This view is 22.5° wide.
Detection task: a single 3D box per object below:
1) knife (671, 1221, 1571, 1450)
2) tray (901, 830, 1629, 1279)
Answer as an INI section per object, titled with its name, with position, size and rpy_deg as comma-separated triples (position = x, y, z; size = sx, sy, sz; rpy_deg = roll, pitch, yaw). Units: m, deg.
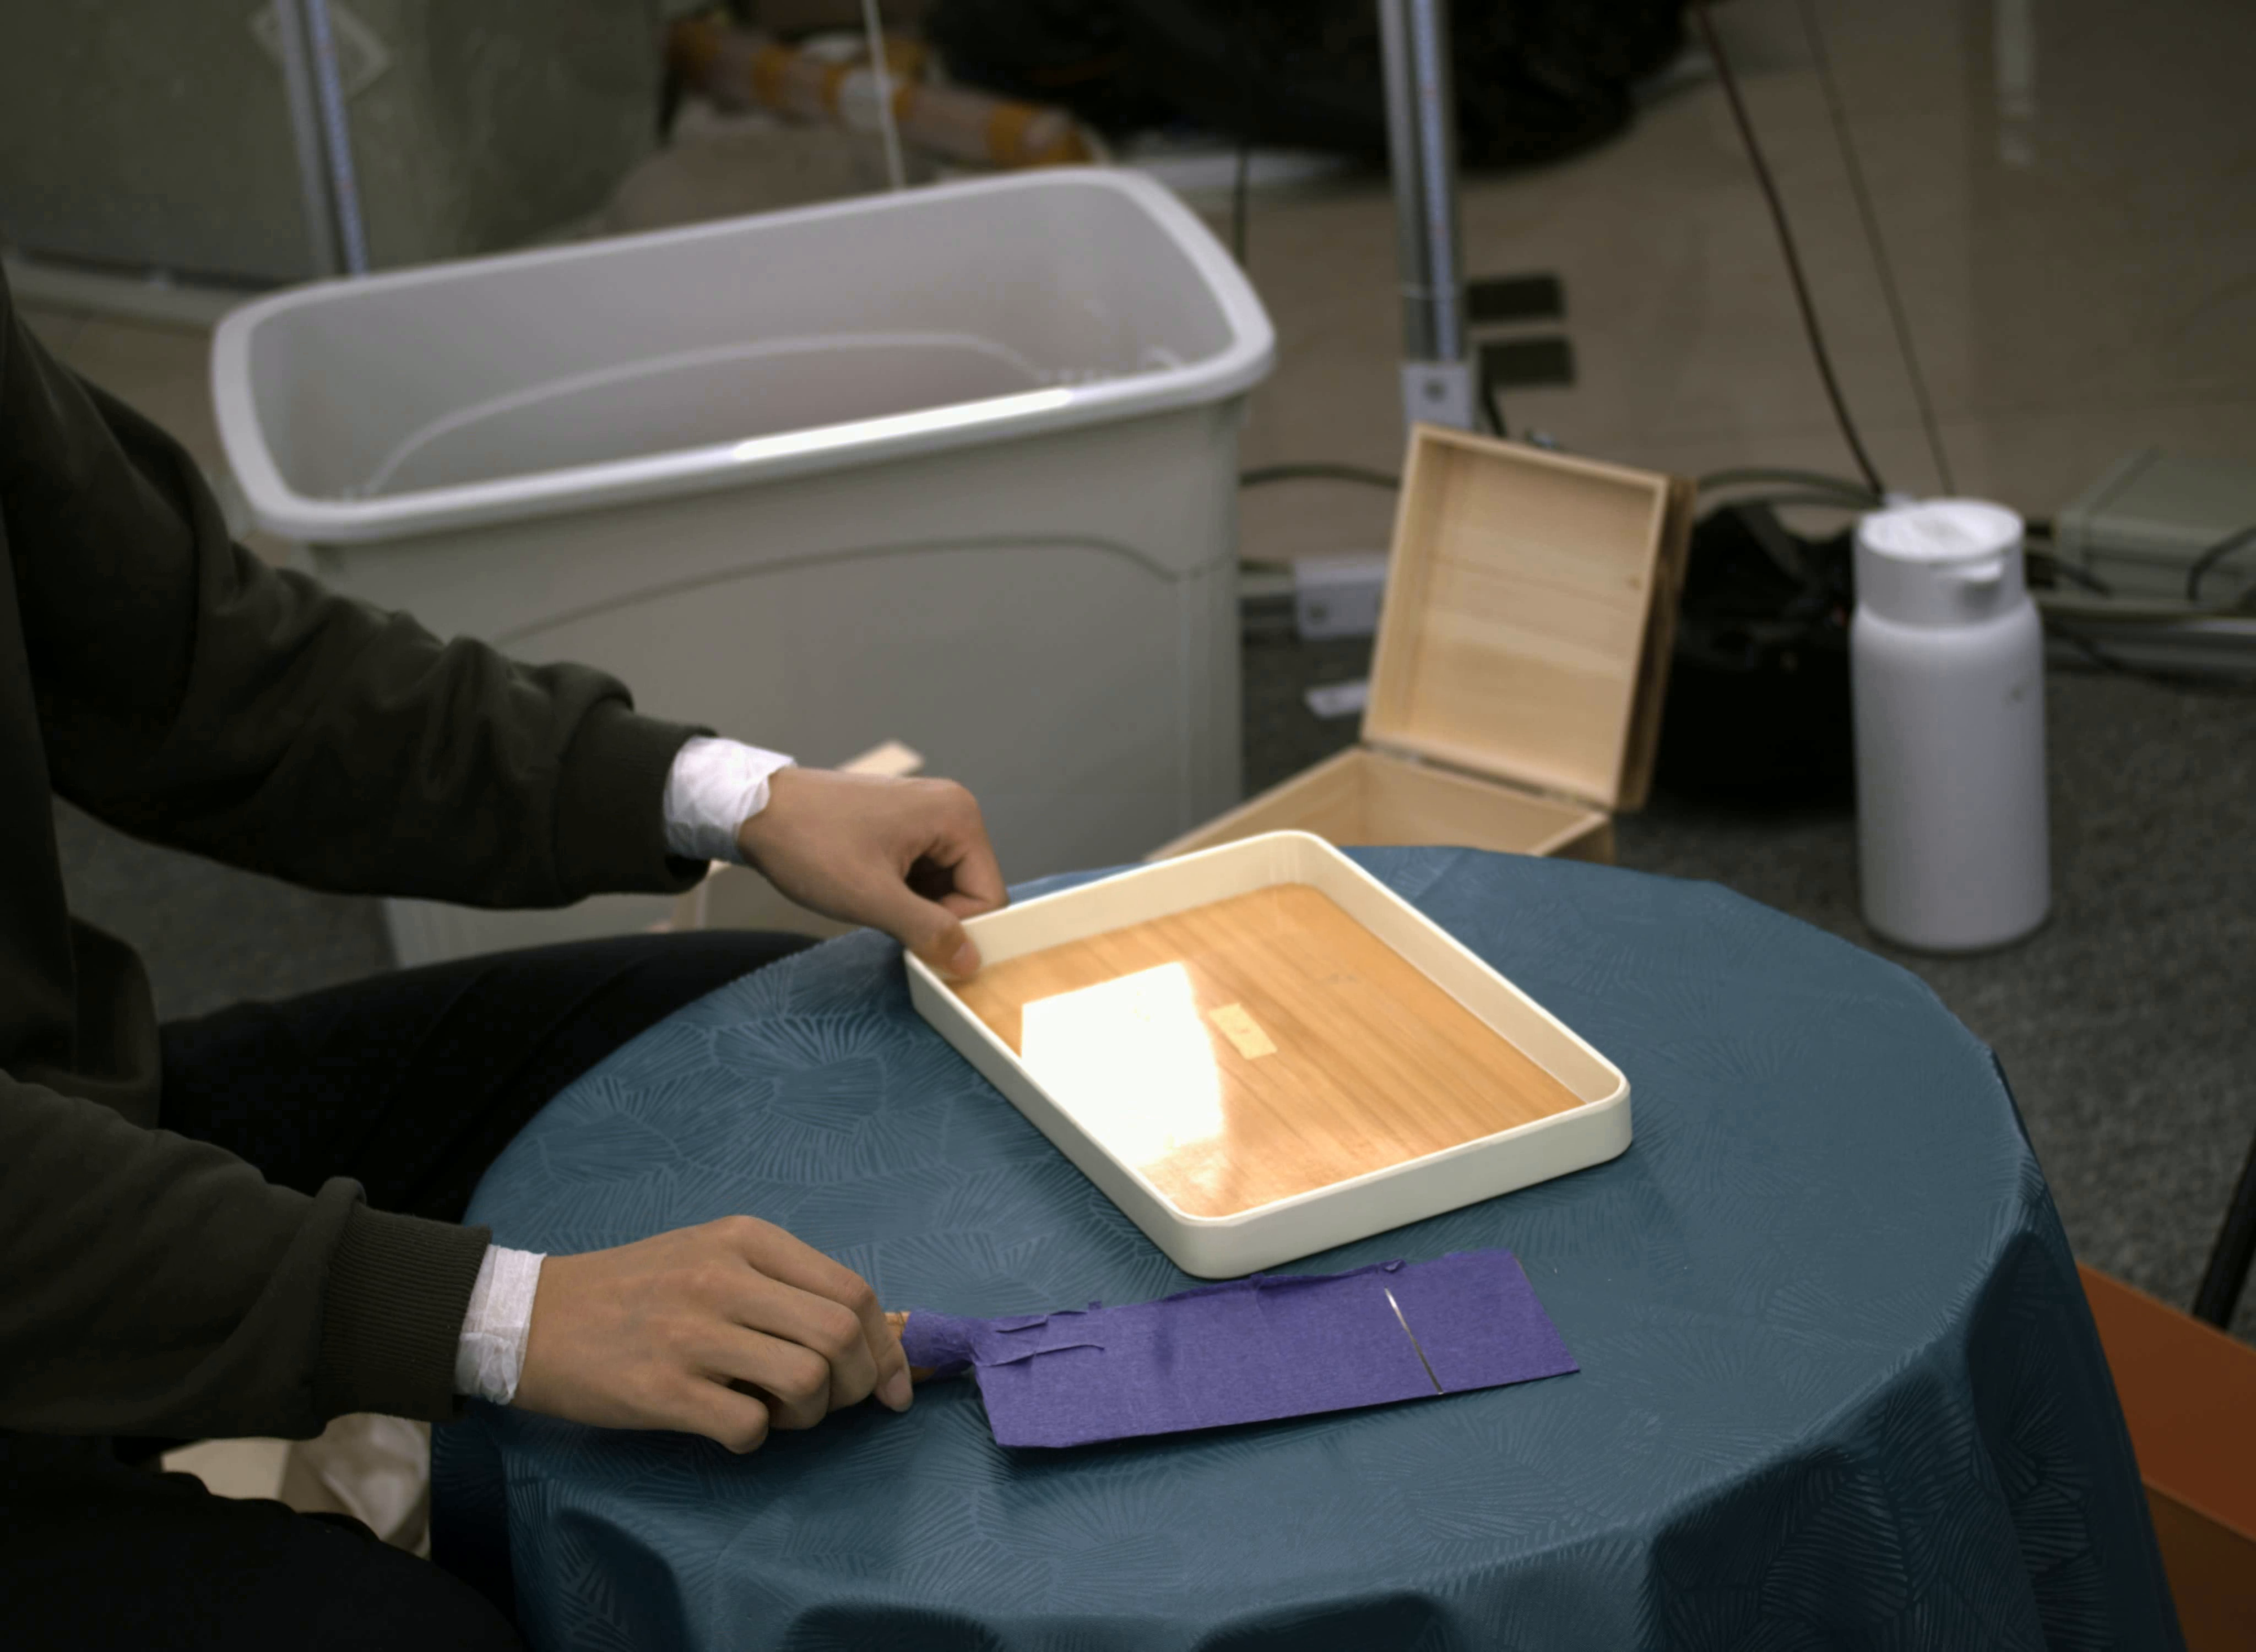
[knife]
position = -0.003, 0.187, 2.015
size = 0.314, 0.033, 0.102
rpy_deg = -10, 24, -8
[tray]
position = 0.049, 0.084, 2.224
size = 0.191, 0.028, 0.296
rpy_deg = -16, 26, -19
